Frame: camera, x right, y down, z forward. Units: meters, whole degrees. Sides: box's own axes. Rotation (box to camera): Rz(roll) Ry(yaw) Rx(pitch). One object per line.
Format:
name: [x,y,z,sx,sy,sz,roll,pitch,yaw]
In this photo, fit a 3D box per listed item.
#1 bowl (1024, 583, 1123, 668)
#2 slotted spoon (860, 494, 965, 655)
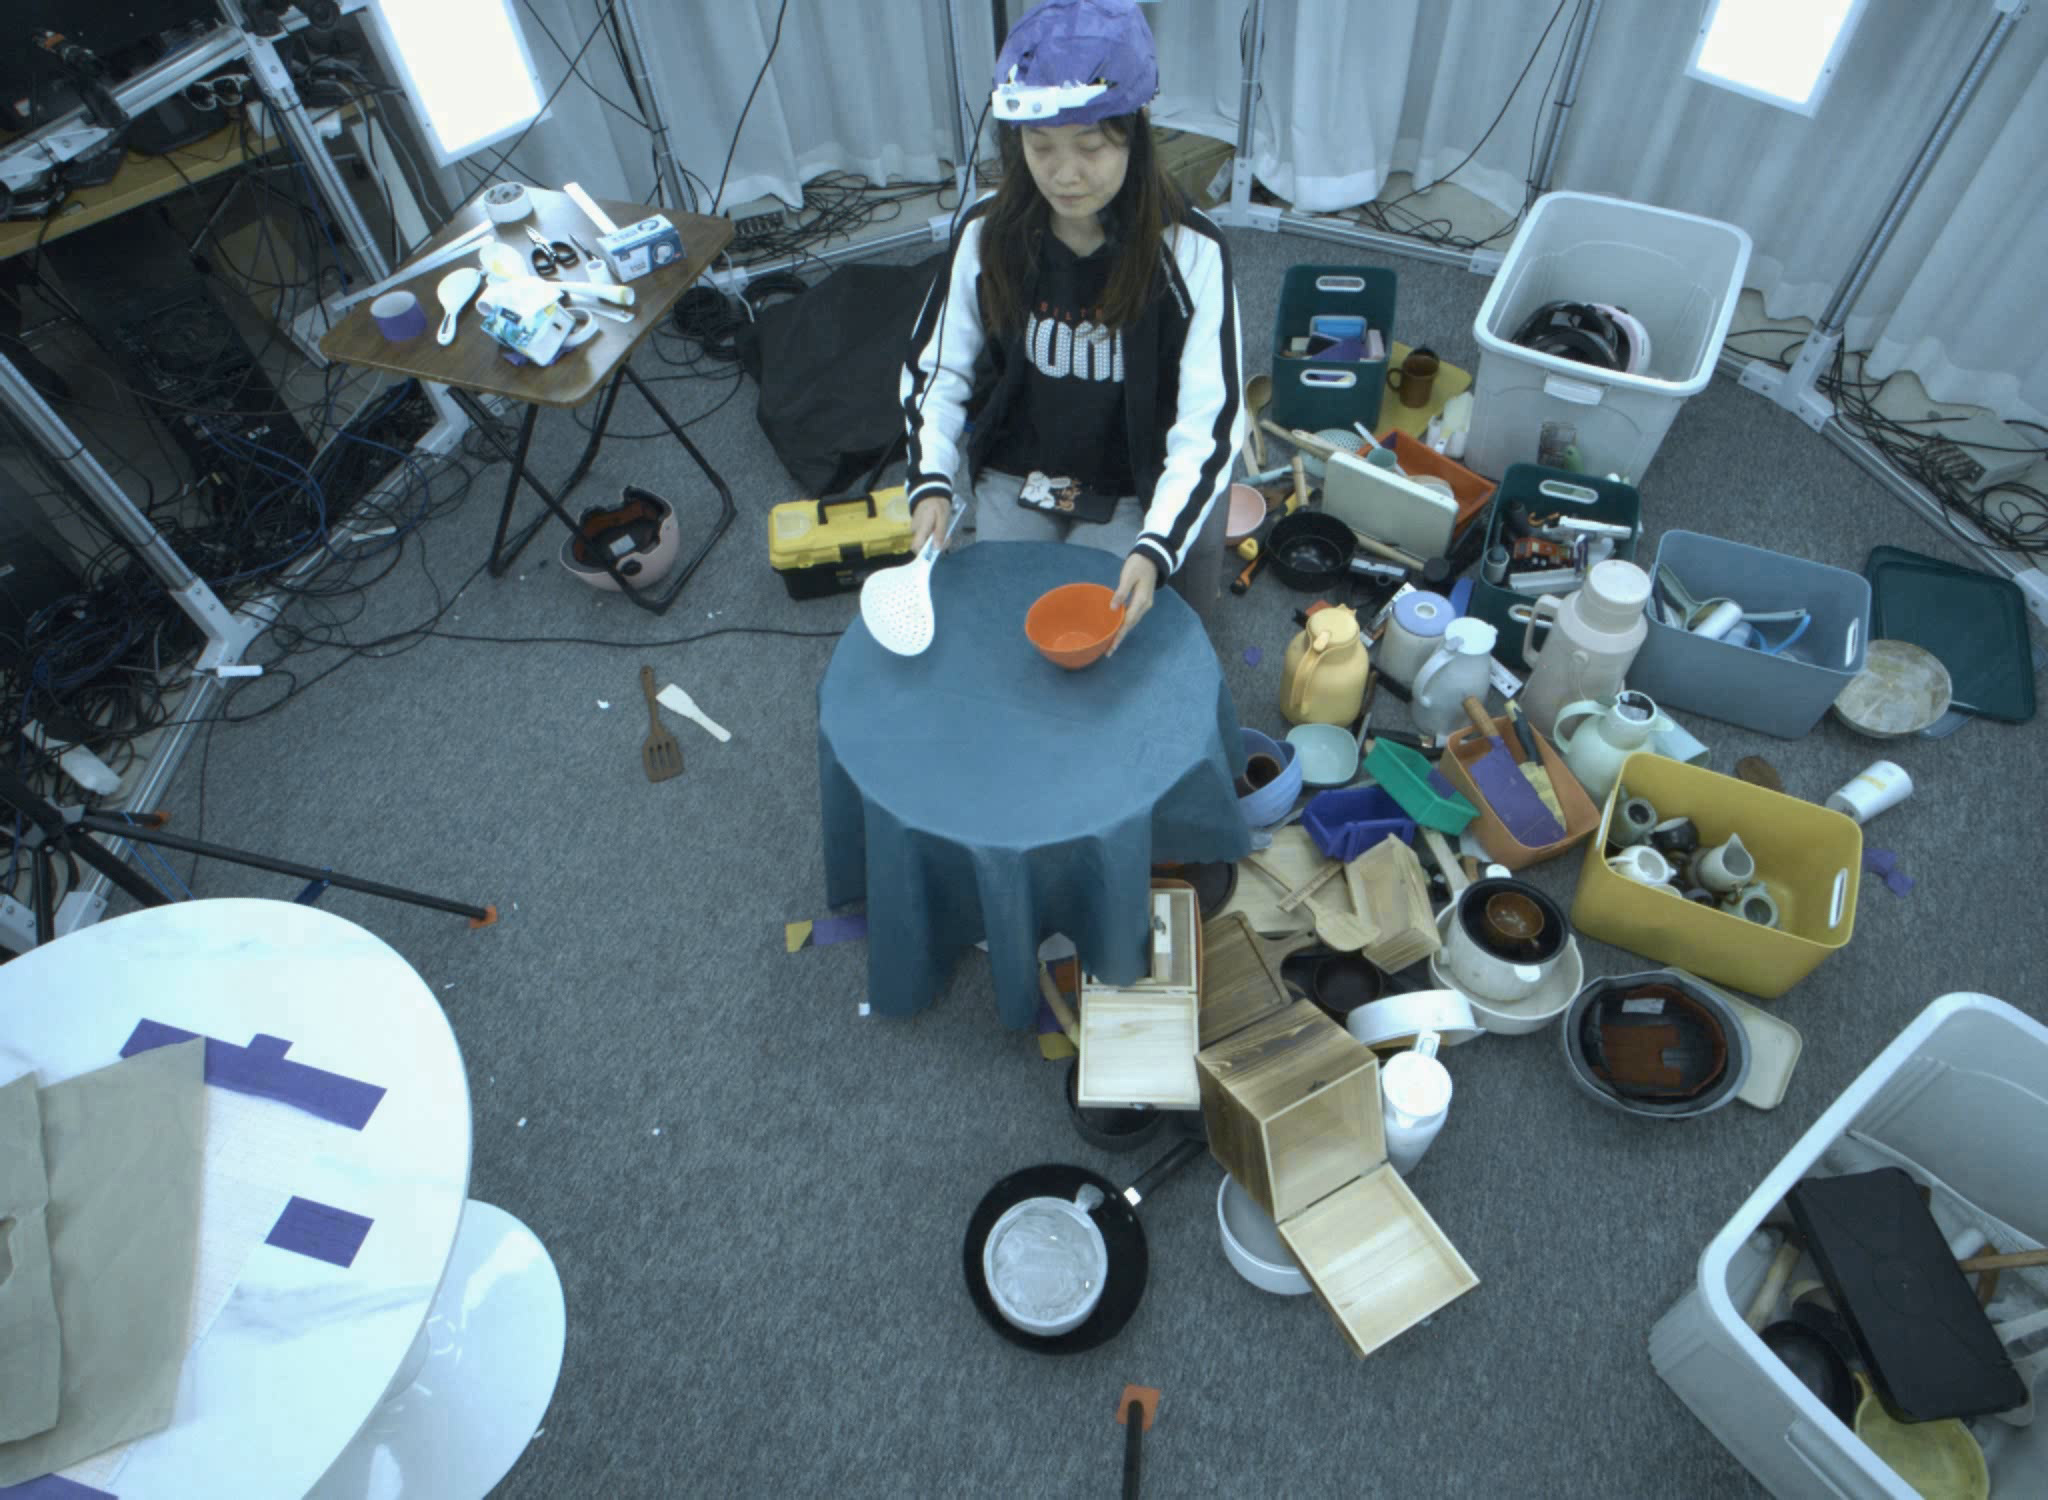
bowl: [0.077,-0.171,1.831,0.147,0.106,0.146,-3,56,6]
slotted spoon: [-0.163,-0.285,1.903,0.045,0.138,0.349,-16,39,45]
